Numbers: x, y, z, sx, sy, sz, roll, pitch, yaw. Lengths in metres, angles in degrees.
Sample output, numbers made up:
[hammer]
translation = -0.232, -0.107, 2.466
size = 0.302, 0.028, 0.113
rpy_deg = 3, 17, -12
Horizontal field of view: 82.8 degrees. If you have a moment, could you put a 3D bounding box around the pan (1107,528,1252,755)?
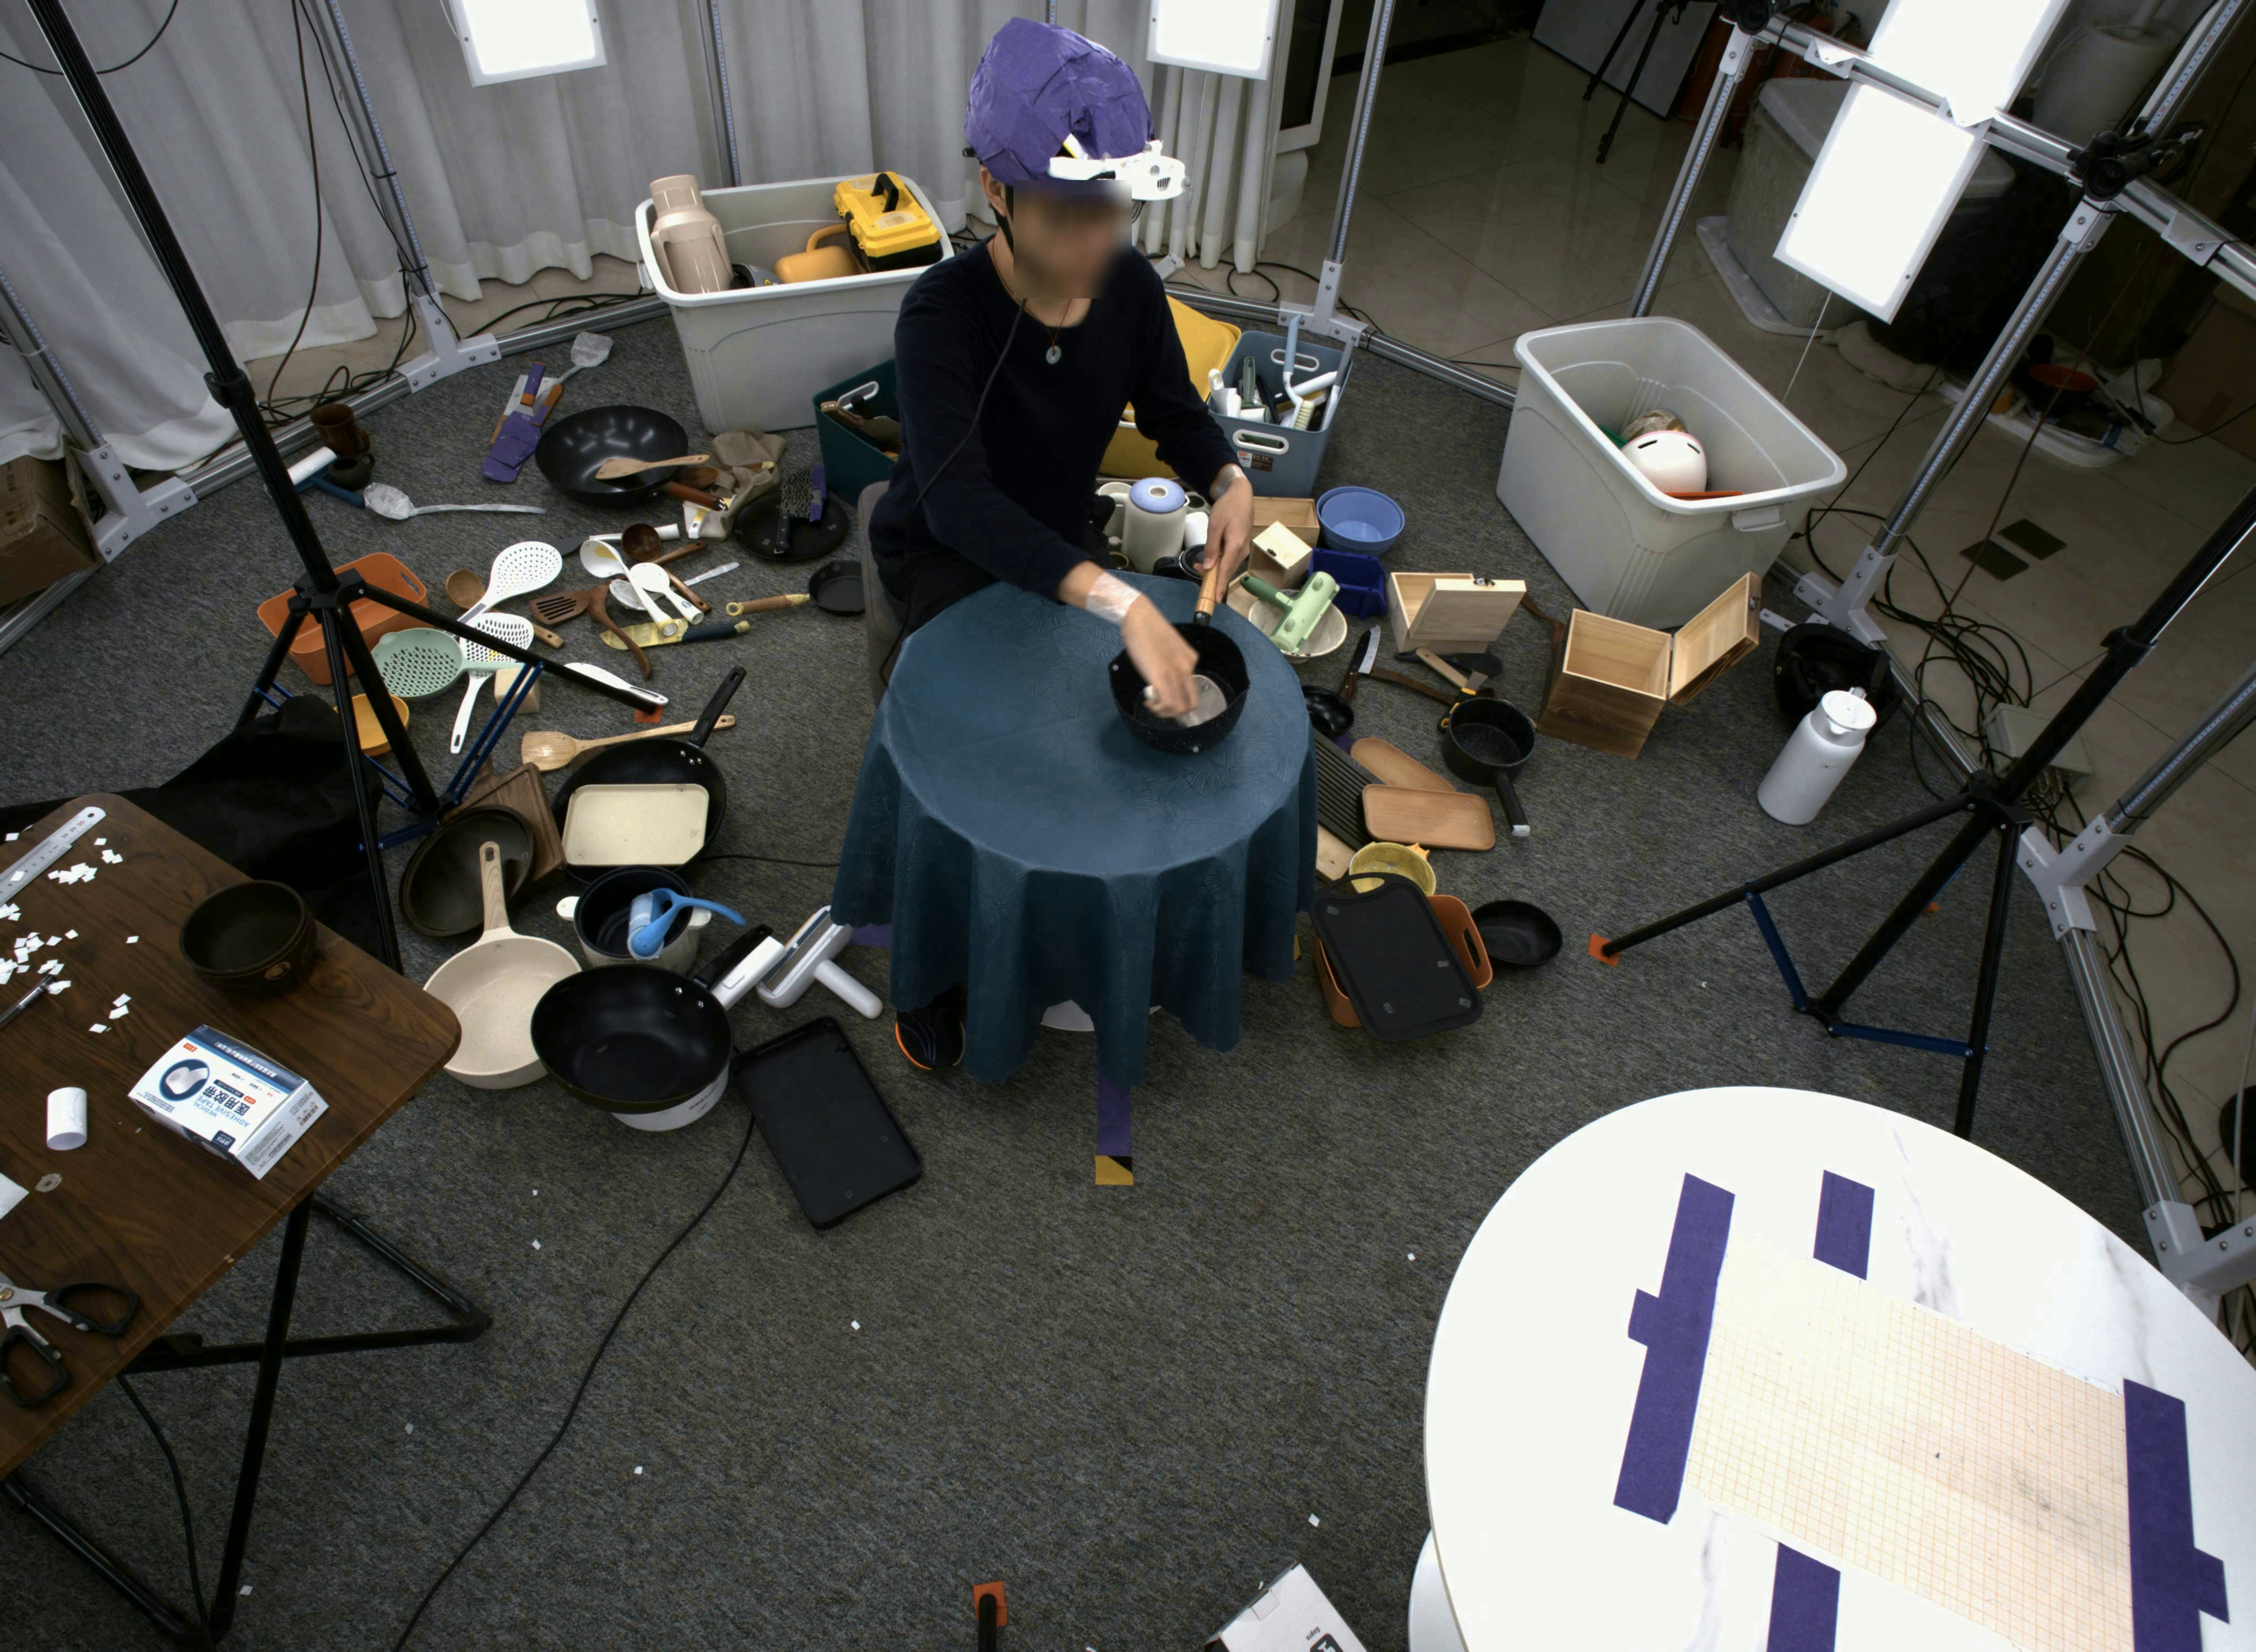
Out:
[pan]
translation = 0.093, -0.255, 1.788
size = 0.208, 0.106, 0.349
rpy_deg = 8, 60, 18

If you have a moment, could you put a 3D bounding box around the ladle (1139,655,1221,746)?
[ladle]
translation = 0.070, -0.168, 1.604
size = 0.069, 0.272, 0.090
rpy_deg = 4, 81, 11
